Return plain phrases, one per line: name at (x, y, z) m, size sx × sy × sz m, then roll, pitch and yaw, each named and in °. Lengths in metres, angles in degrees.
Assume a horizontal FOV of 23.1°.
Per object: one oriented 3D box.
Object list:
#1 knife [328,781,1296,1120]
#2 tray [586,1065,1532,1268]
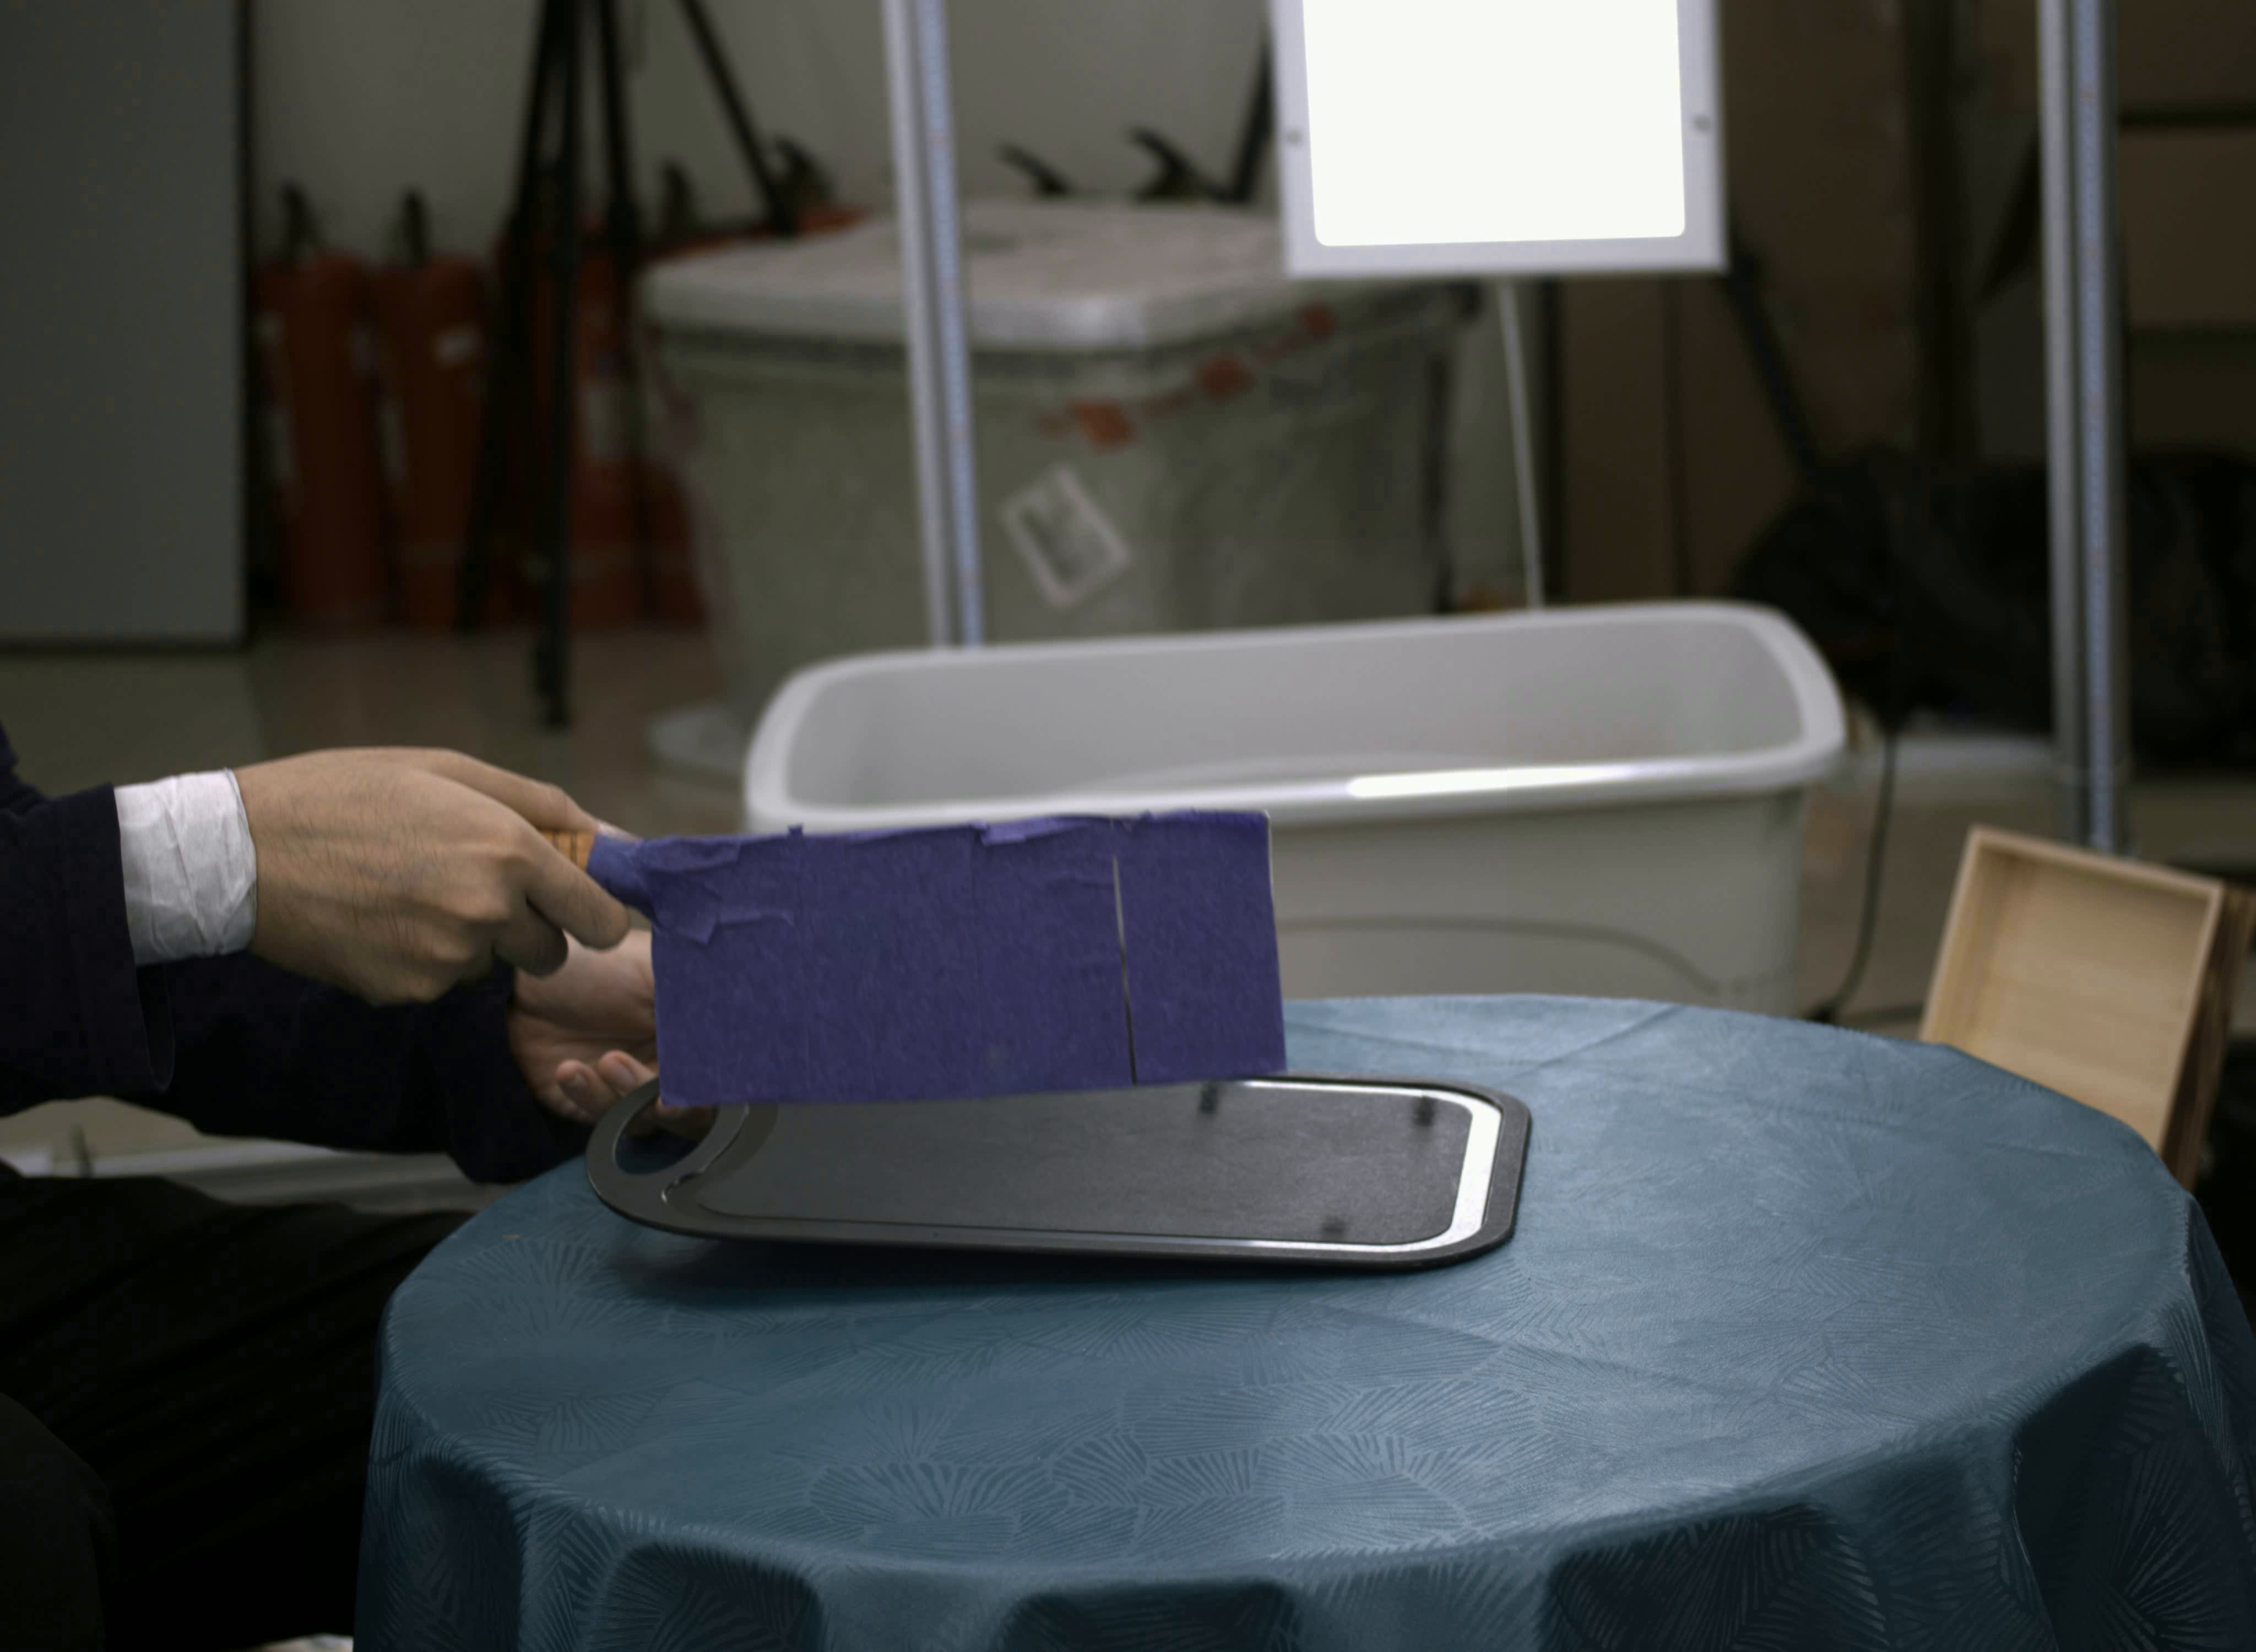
knife at (-0.103, 0.047, 1.802) m, size 0.315 × 0.104 × 0.032 m, roll -4°, pitch 2°, yaw 5°
tray at (-0.025, 0.111, 1.906) m, size 0.327 × 0.010 × 0.209 m, roll 2°, pitch 15°, yaw 9°
